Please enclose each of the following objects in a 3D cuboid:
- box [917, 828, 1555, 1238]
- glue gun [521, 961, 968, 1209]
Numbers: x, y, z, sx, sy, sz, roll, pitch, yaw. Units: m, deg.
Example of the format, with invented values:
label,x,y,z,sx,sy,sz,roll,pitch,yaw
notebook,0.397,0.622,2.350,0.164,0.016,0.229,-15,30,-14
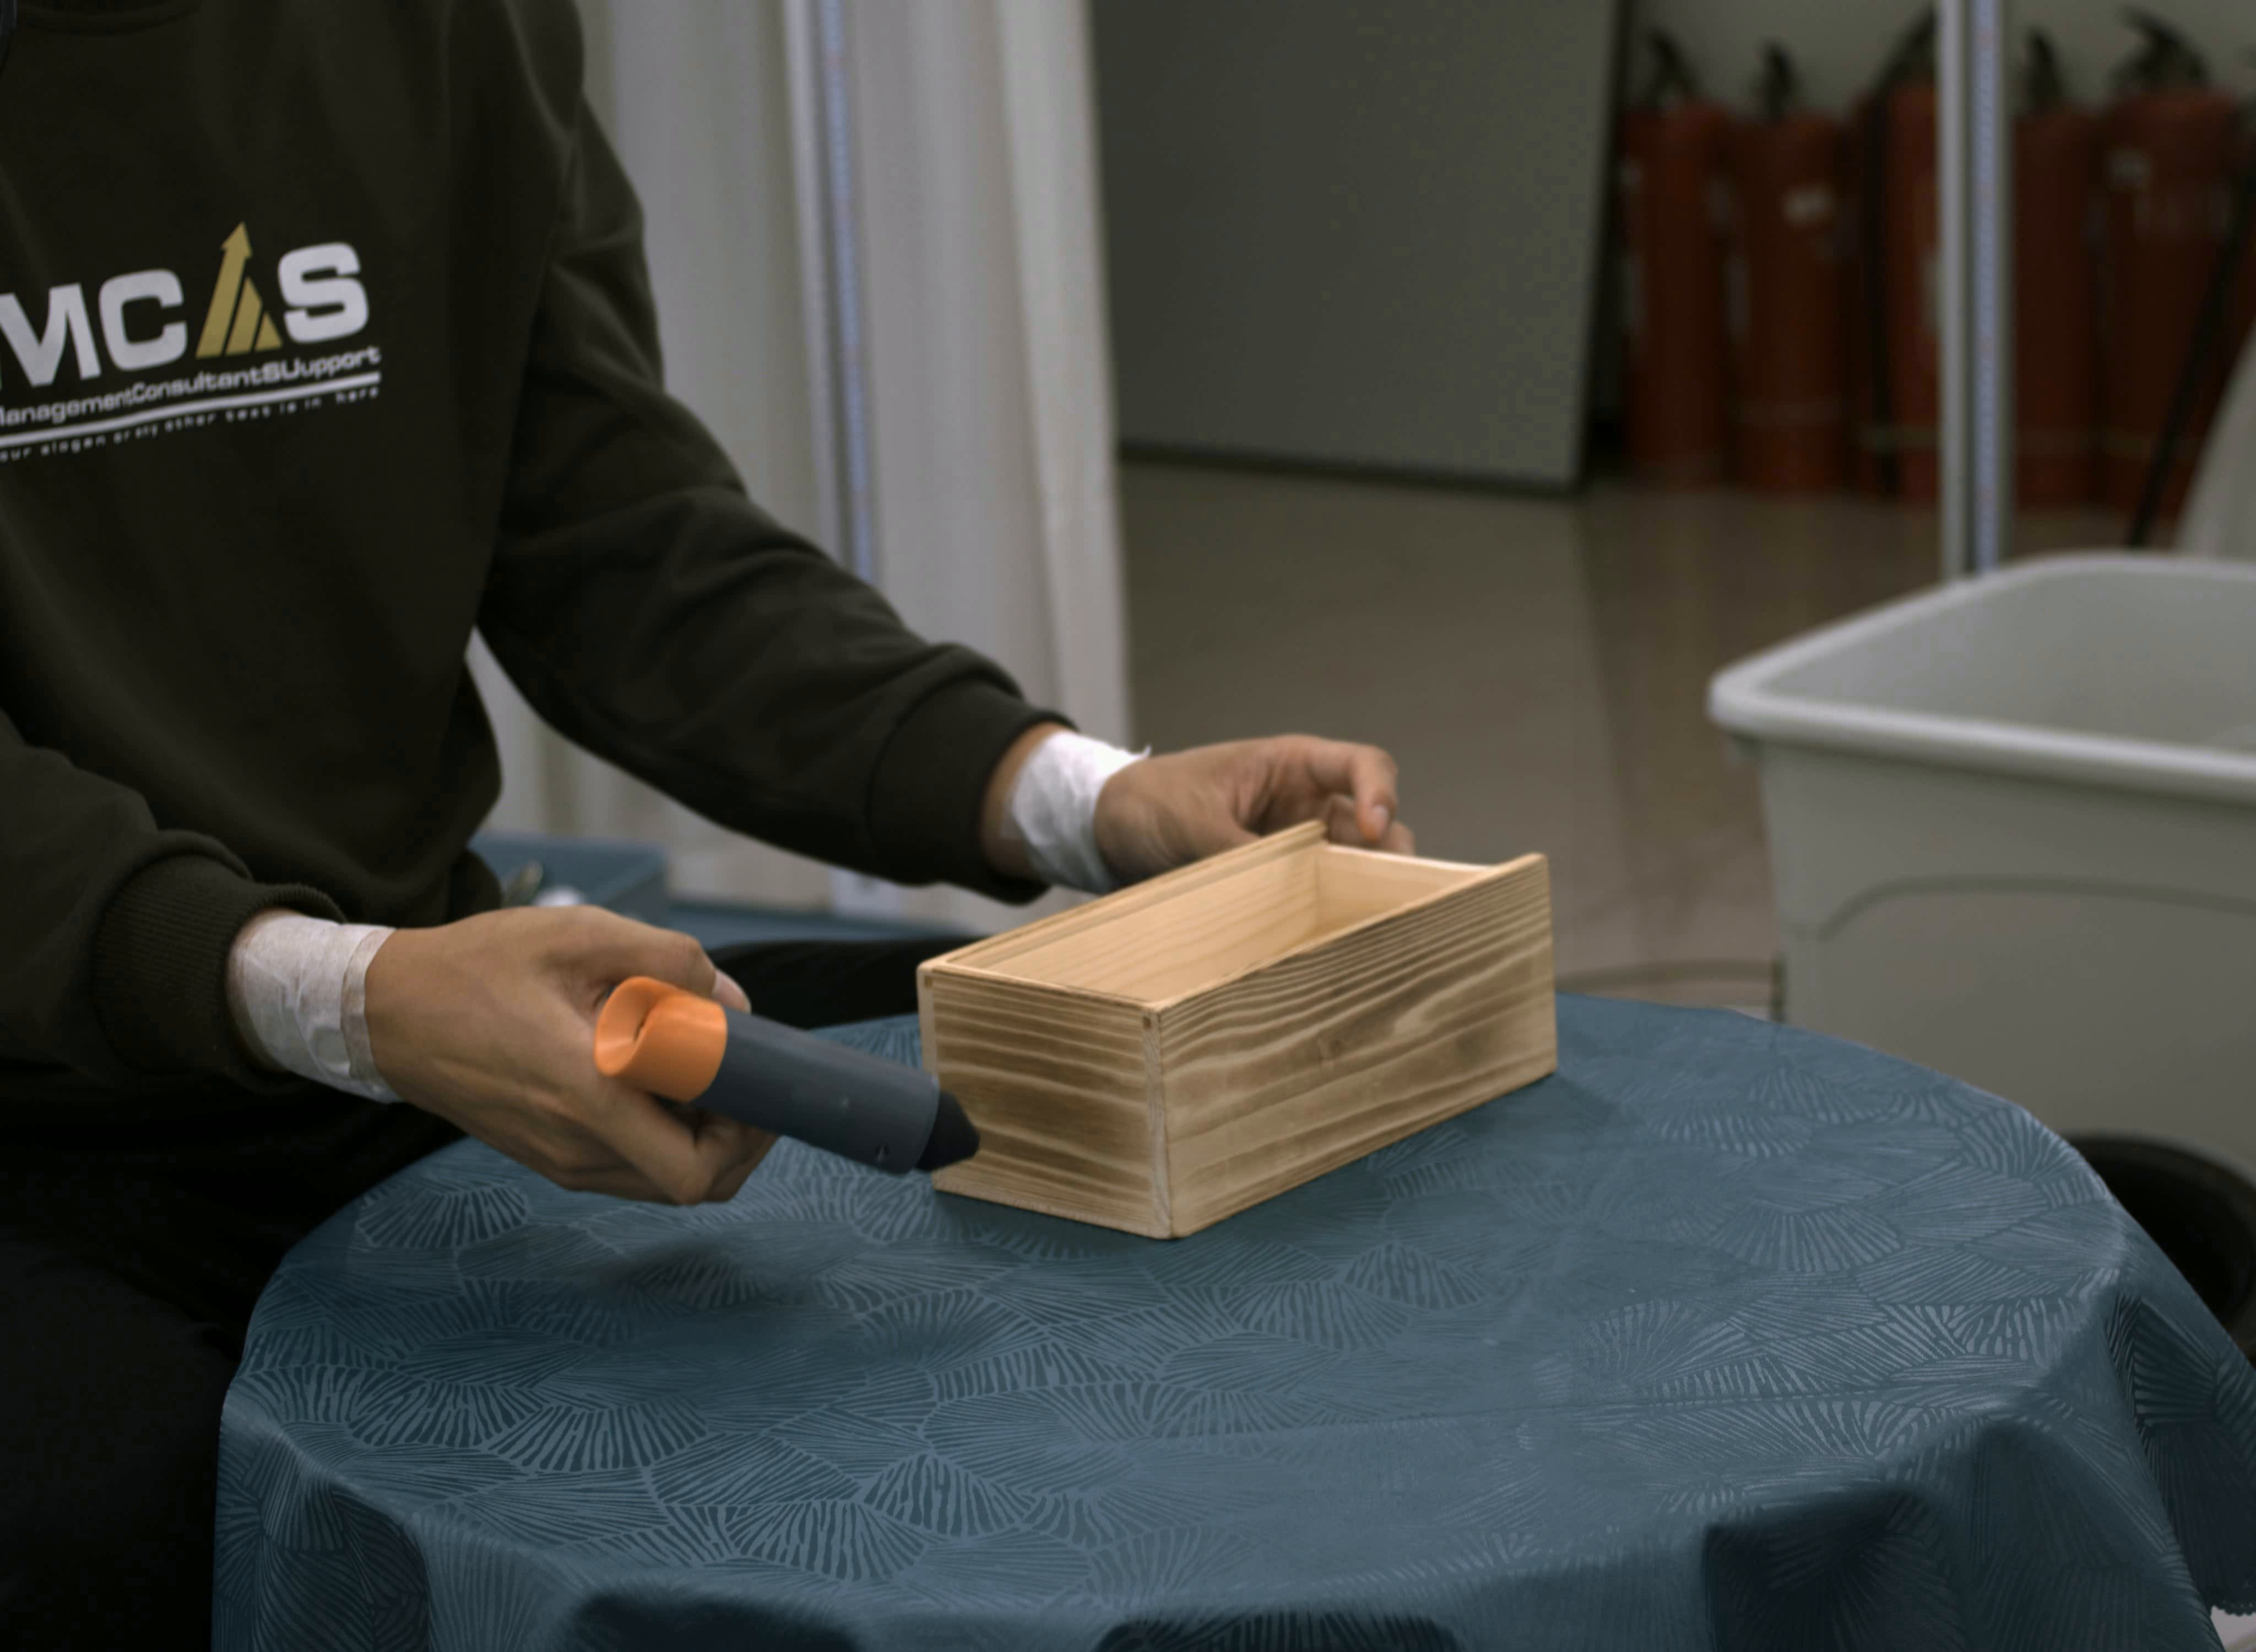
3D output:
label,x,y,z,sx,sy,sz,roll,pitch,yaw
box,0.040,0.066,1.823,0.108,0.081,0.207,7,18,41
glue gun,-0.124,0.082,1.700,0.116,0.041,0.141,32,-12,-30
